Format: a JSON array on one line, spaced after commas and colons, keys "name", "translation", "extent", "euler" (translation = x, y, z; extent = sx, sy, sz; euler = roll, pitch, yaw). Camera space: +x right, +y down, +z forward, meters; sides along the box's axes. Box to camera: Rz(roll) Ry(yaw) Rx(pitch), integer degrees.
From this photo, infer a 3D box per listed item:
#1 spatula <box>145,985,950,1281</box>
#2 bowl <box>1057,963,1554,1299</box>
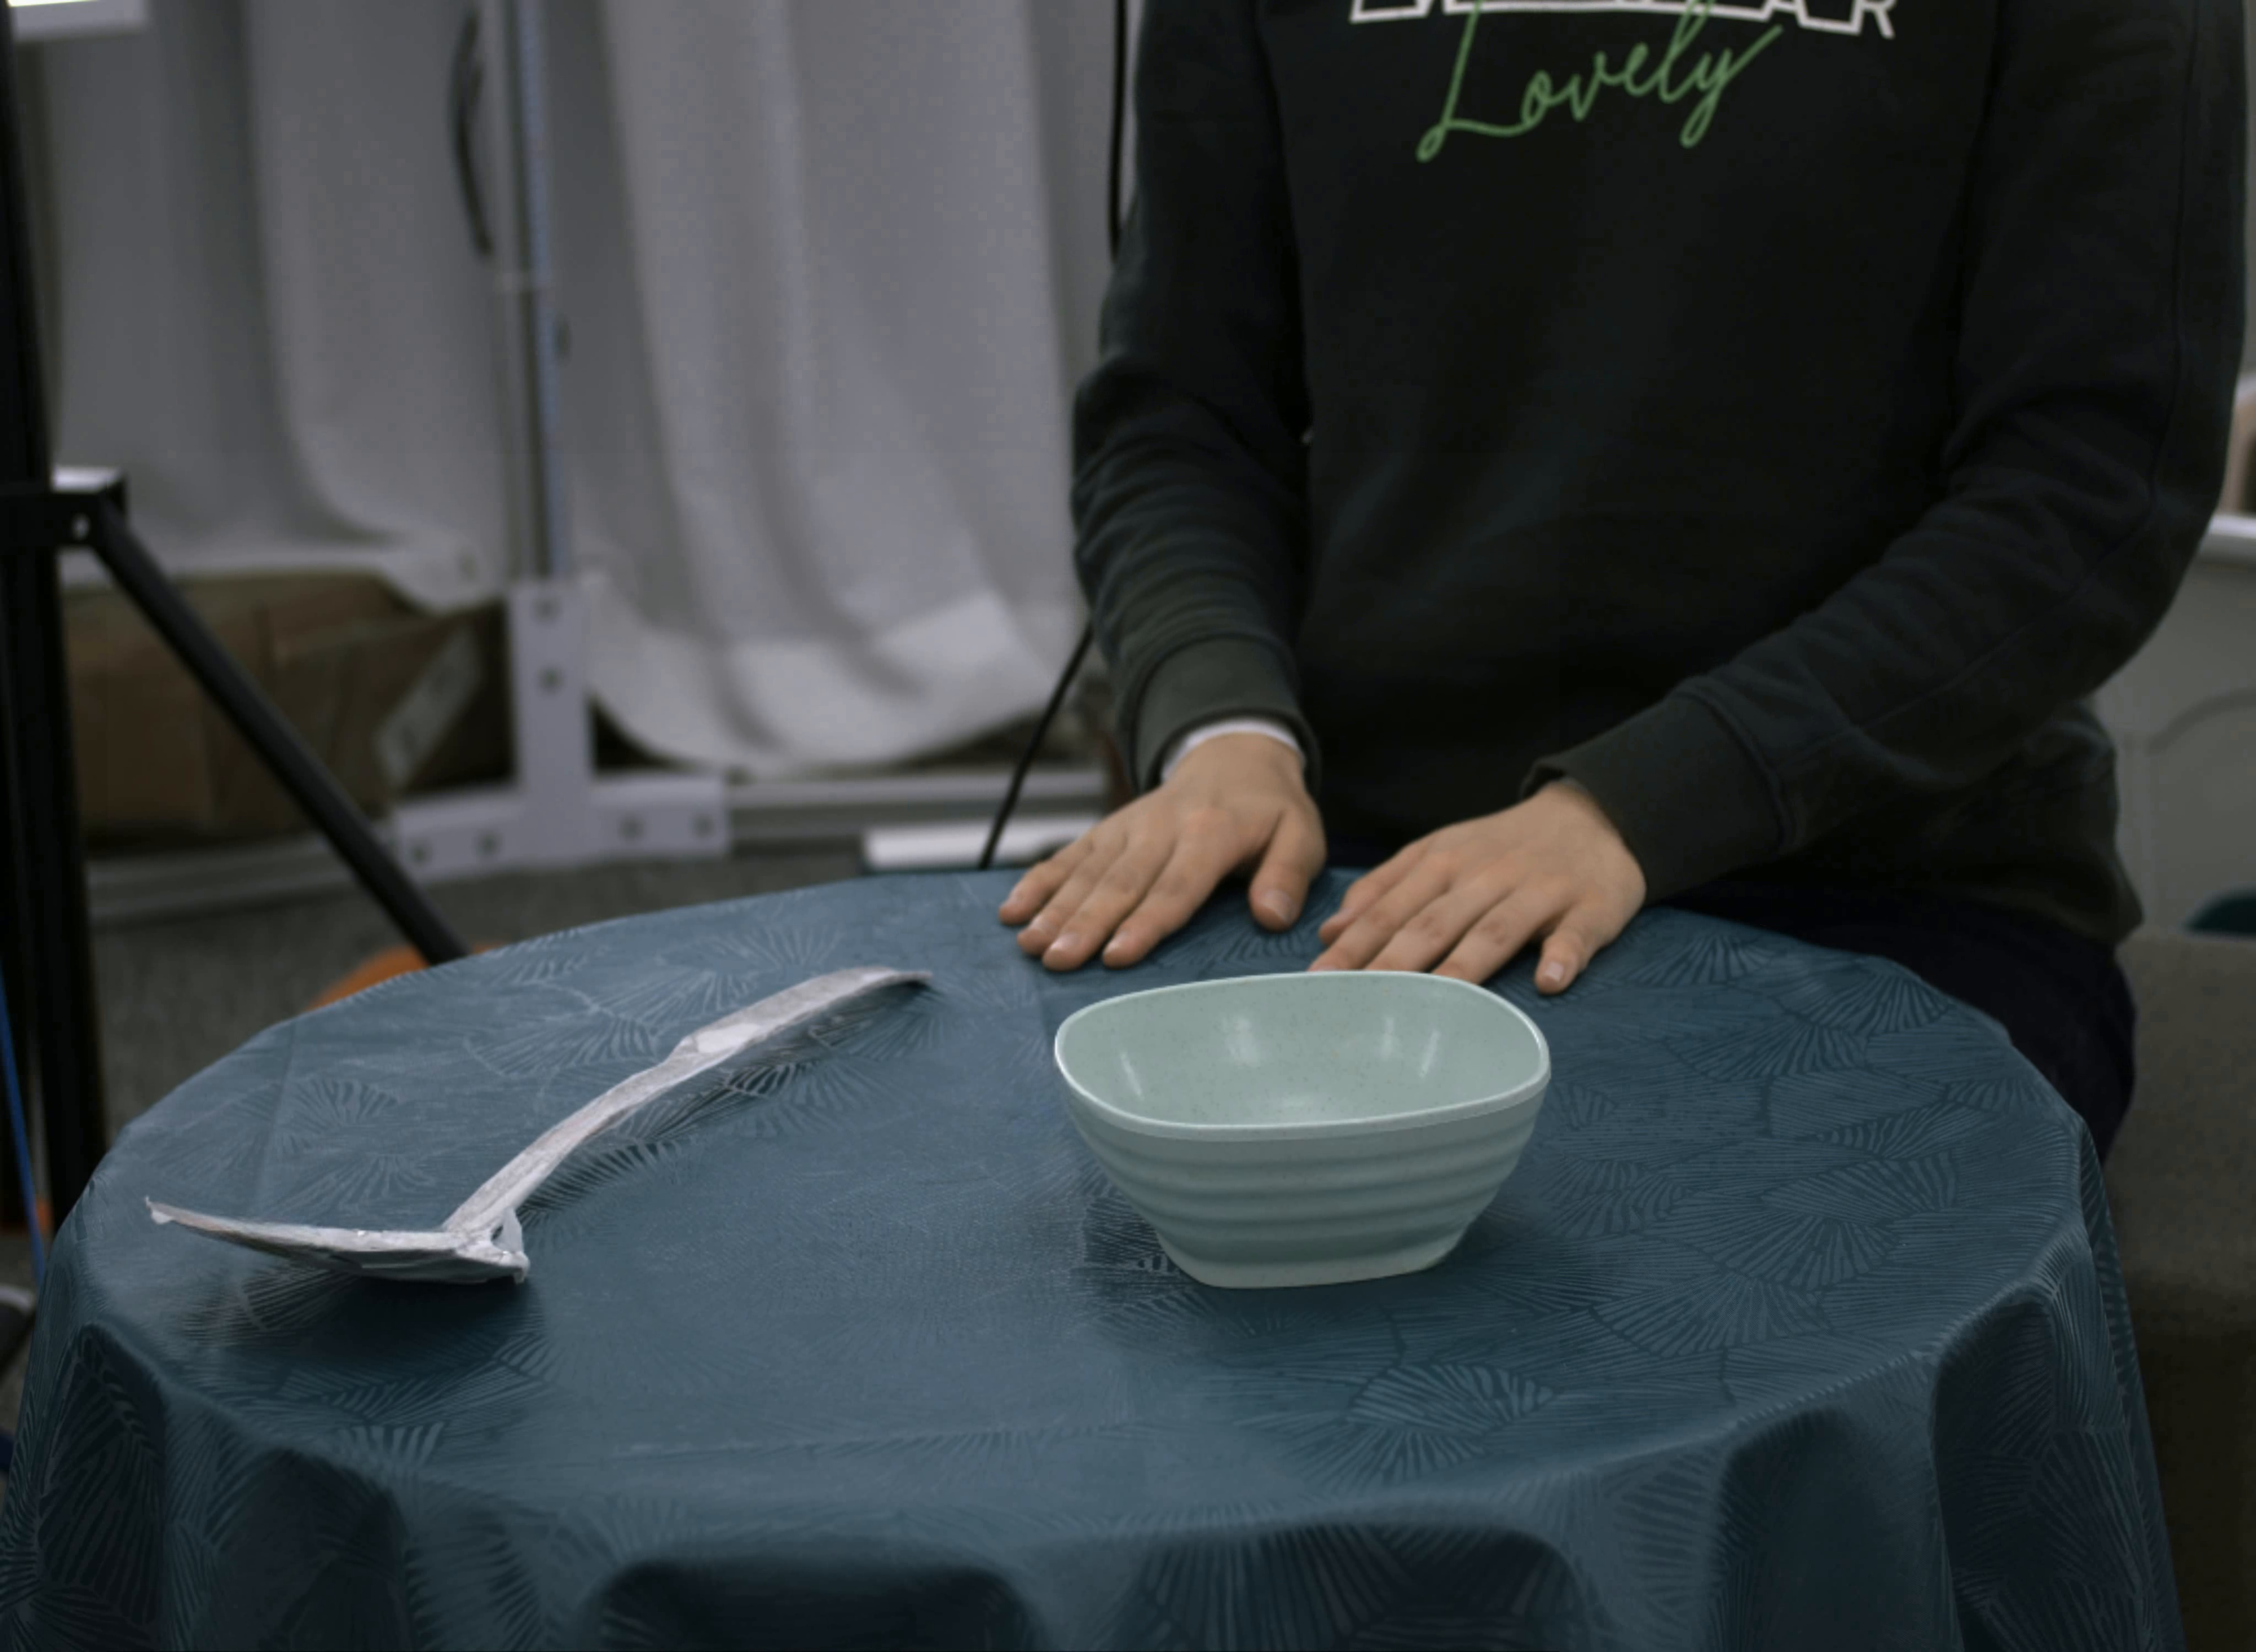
[{"name": "spatula", "translation": [-0.153, 0.082, 1.603], "extent": [0.100, 0.045, 0.359], "euler": [4, 17, 28]}, {"name": "bowl", "translation": [0.051, 0.091, 1.510], "extent": [0.151, 0.058, 0.152], "euler": [-3, 18, 0]}]
